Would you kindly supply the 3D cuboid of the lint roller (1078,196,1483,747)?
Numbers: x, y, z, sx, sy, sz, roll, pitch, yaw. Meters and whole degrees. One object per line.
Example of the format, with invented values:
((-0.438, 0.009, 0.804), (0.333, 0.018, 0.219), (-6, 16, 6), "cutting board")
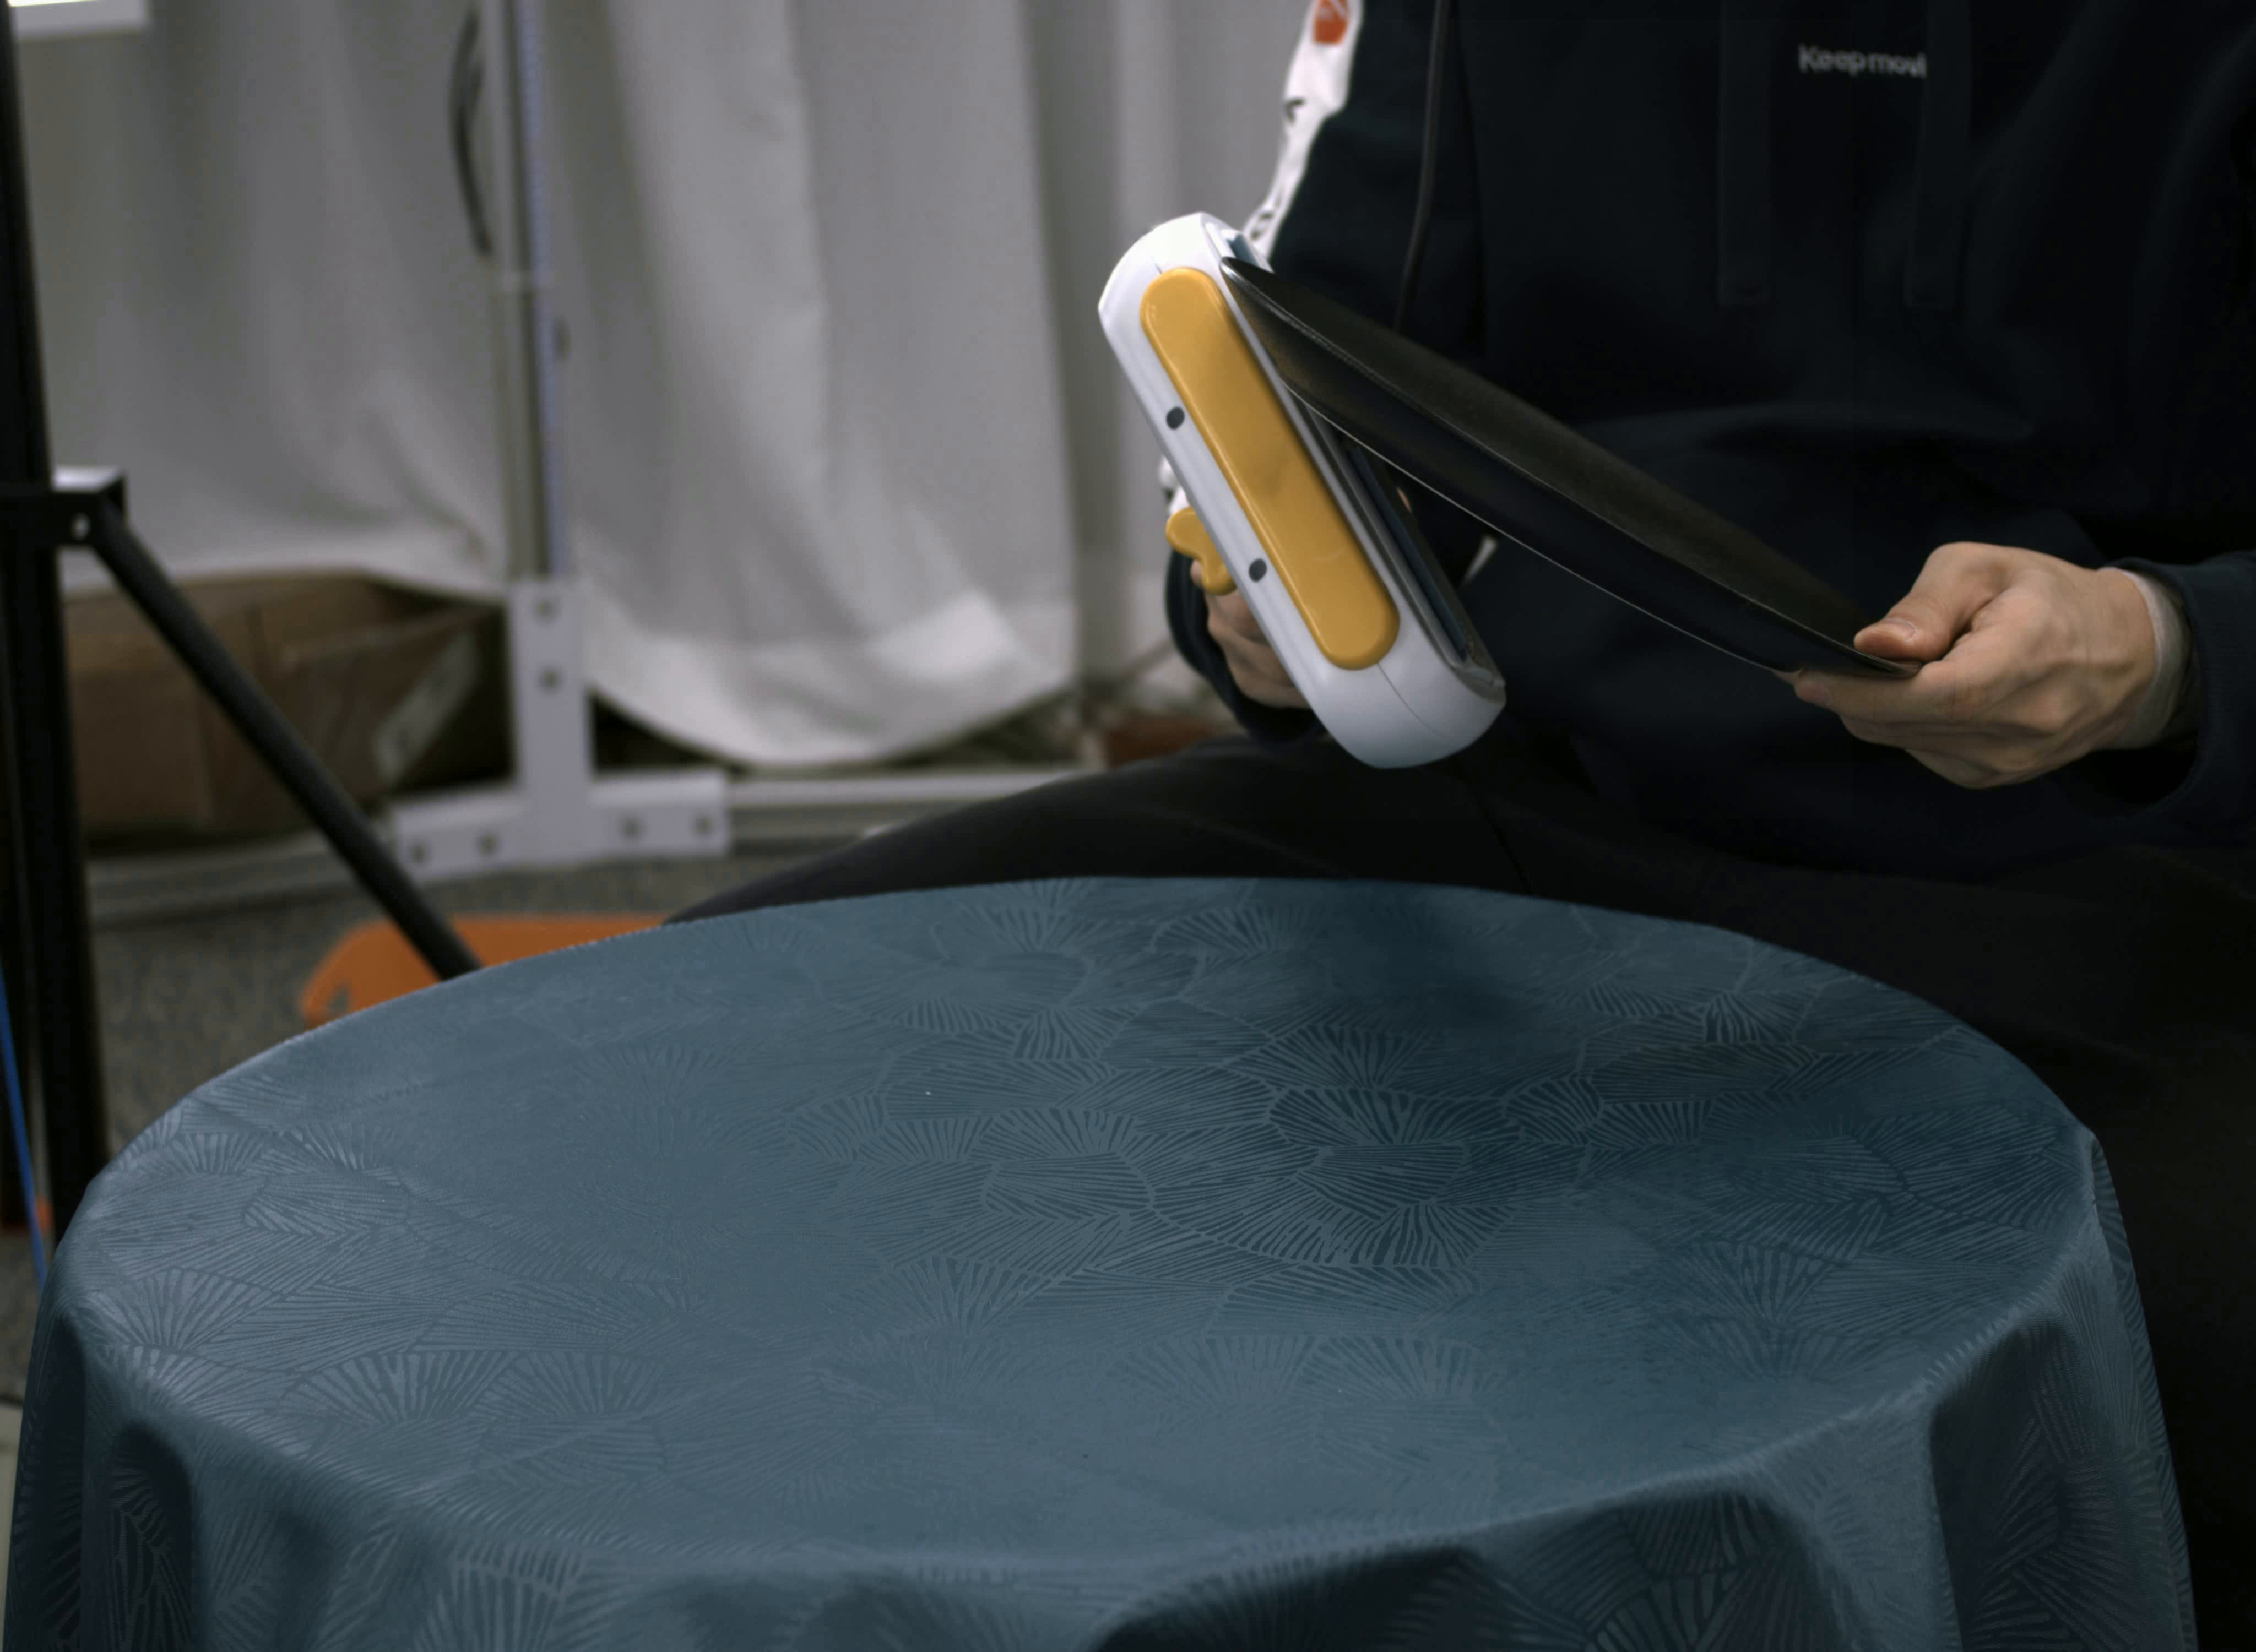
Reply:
((0.060, -0.089, 1.707), (0.074, 0.196, 0.189), (-35, -26, 6), "lint roller")

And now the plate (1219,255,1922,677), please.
((0.128, -0.101, 1.592), (0.242, 0.023, 0.245), (29, 10, -7), "plate")
